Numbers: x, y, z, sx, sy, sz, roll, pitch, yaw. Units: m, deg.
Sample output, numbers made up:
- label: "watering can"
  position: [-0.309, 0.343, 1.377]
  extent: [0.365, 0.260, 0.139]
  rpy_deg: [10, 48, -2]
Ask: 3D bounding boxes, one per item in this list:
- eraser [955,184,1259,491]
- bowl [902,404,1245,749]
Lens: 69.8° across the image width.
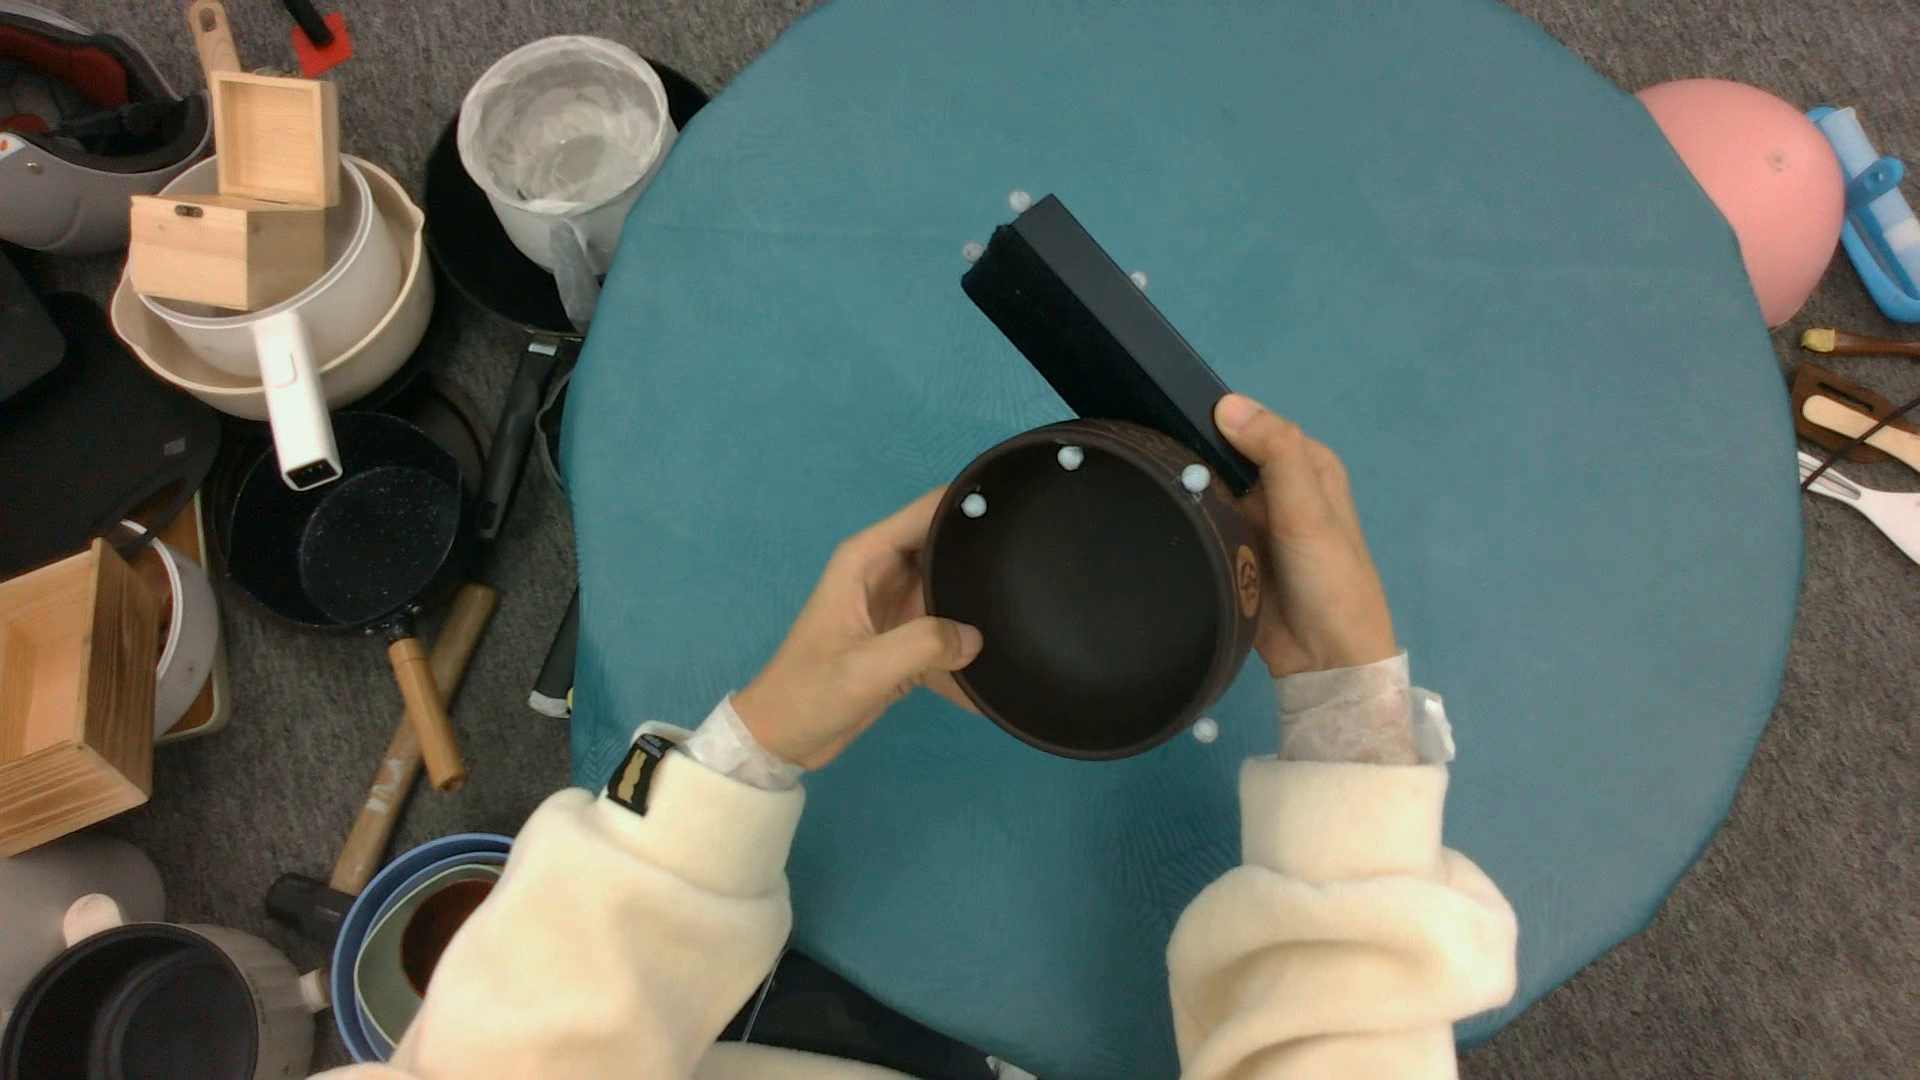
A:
- label: "eraser"
  position: [0.052, -0.068, 0.501]
  extent: [0.030, 0.053, 0.125]
  rpy_deg: [-42, 96, -20]
- label: "bowl"
  position: [0.046, 0.009, 0.490]
  extent: [0.118, 0.070, 0.118]
  rpy_deg: [8, 106, 29]
